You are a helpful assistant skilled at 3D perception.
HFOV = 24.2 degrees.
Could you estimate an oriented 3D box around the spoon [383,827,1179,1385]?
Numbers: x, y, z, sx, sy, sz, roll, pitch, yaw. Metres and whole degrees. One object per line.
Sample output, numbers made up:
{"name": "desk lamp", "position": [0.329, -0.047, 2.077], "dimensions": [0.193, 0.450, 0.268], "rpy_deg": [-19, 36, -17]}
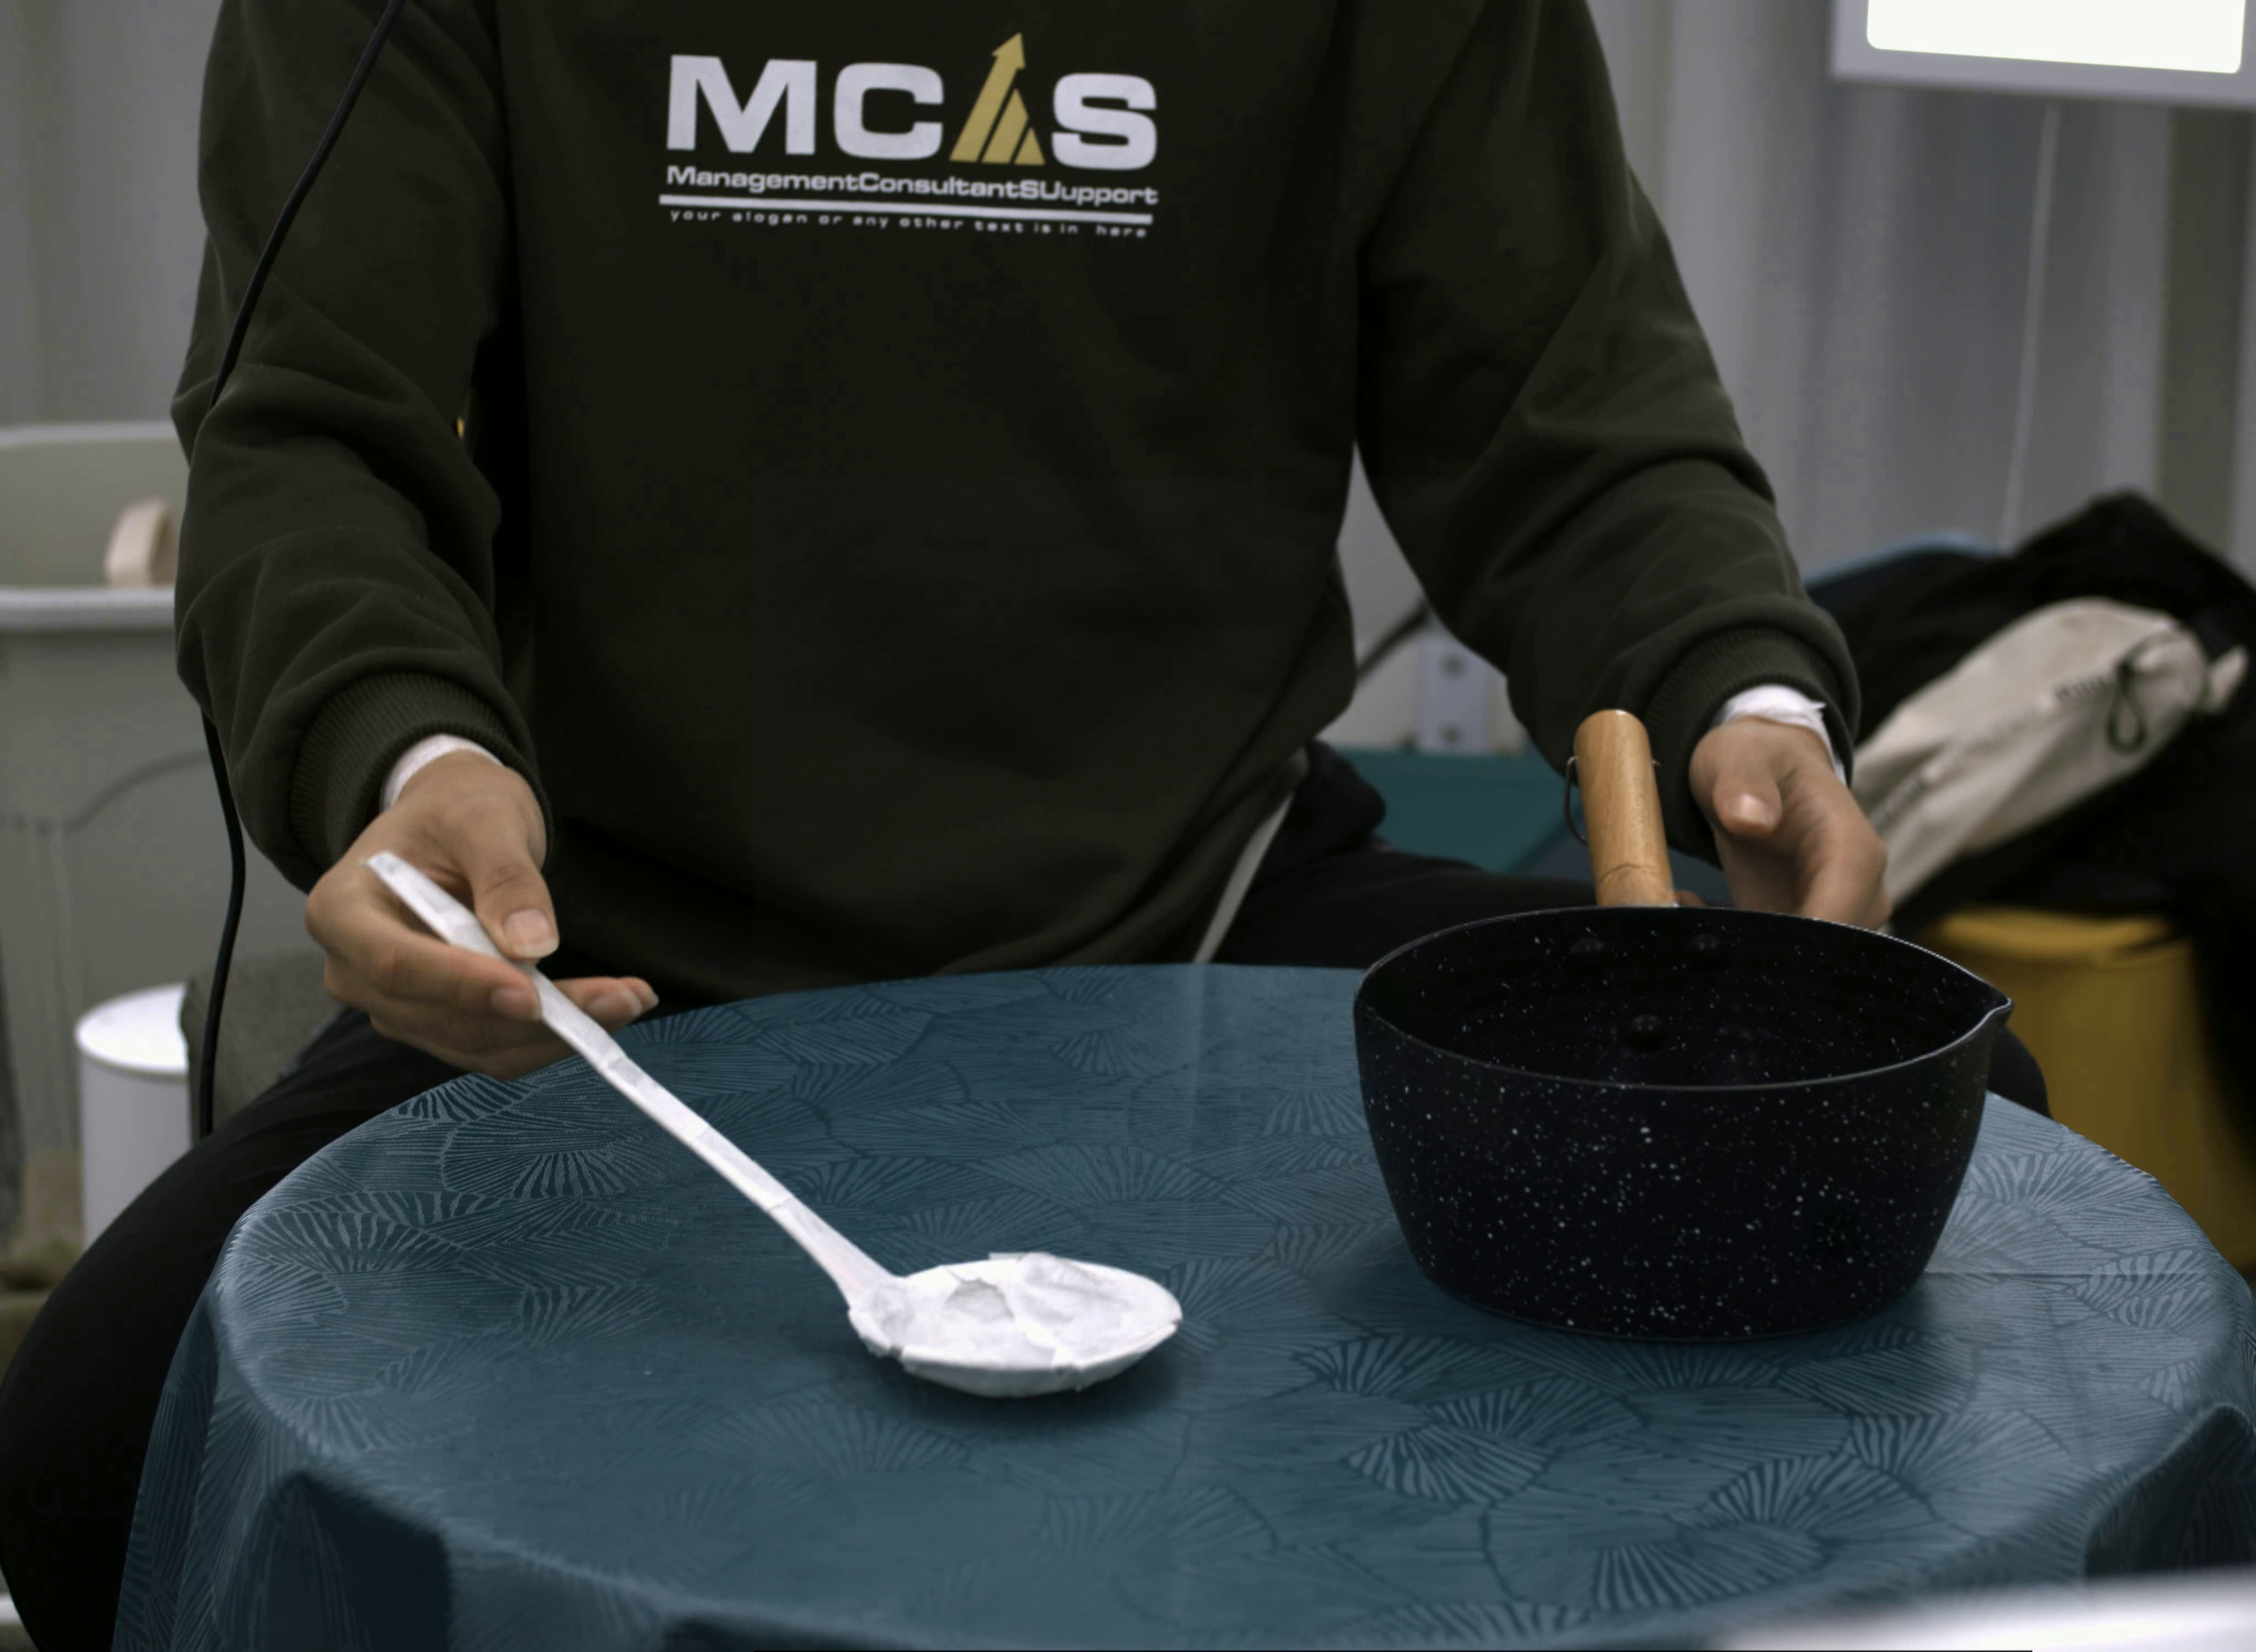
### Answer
{"name": "spoon", "position": [-0.102, 0.071, 1.501], "dimensions": [0.275, 0.059, 0.101], "rpy_deg": [42, 24, 15]}

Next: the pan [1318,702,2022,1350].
{"name": "pan", "position": [0.159, 0.056, 1.631], "dimensions": [0.207, 0.109, 0.341], "rpy_deg": [-1, 17, 0]}
